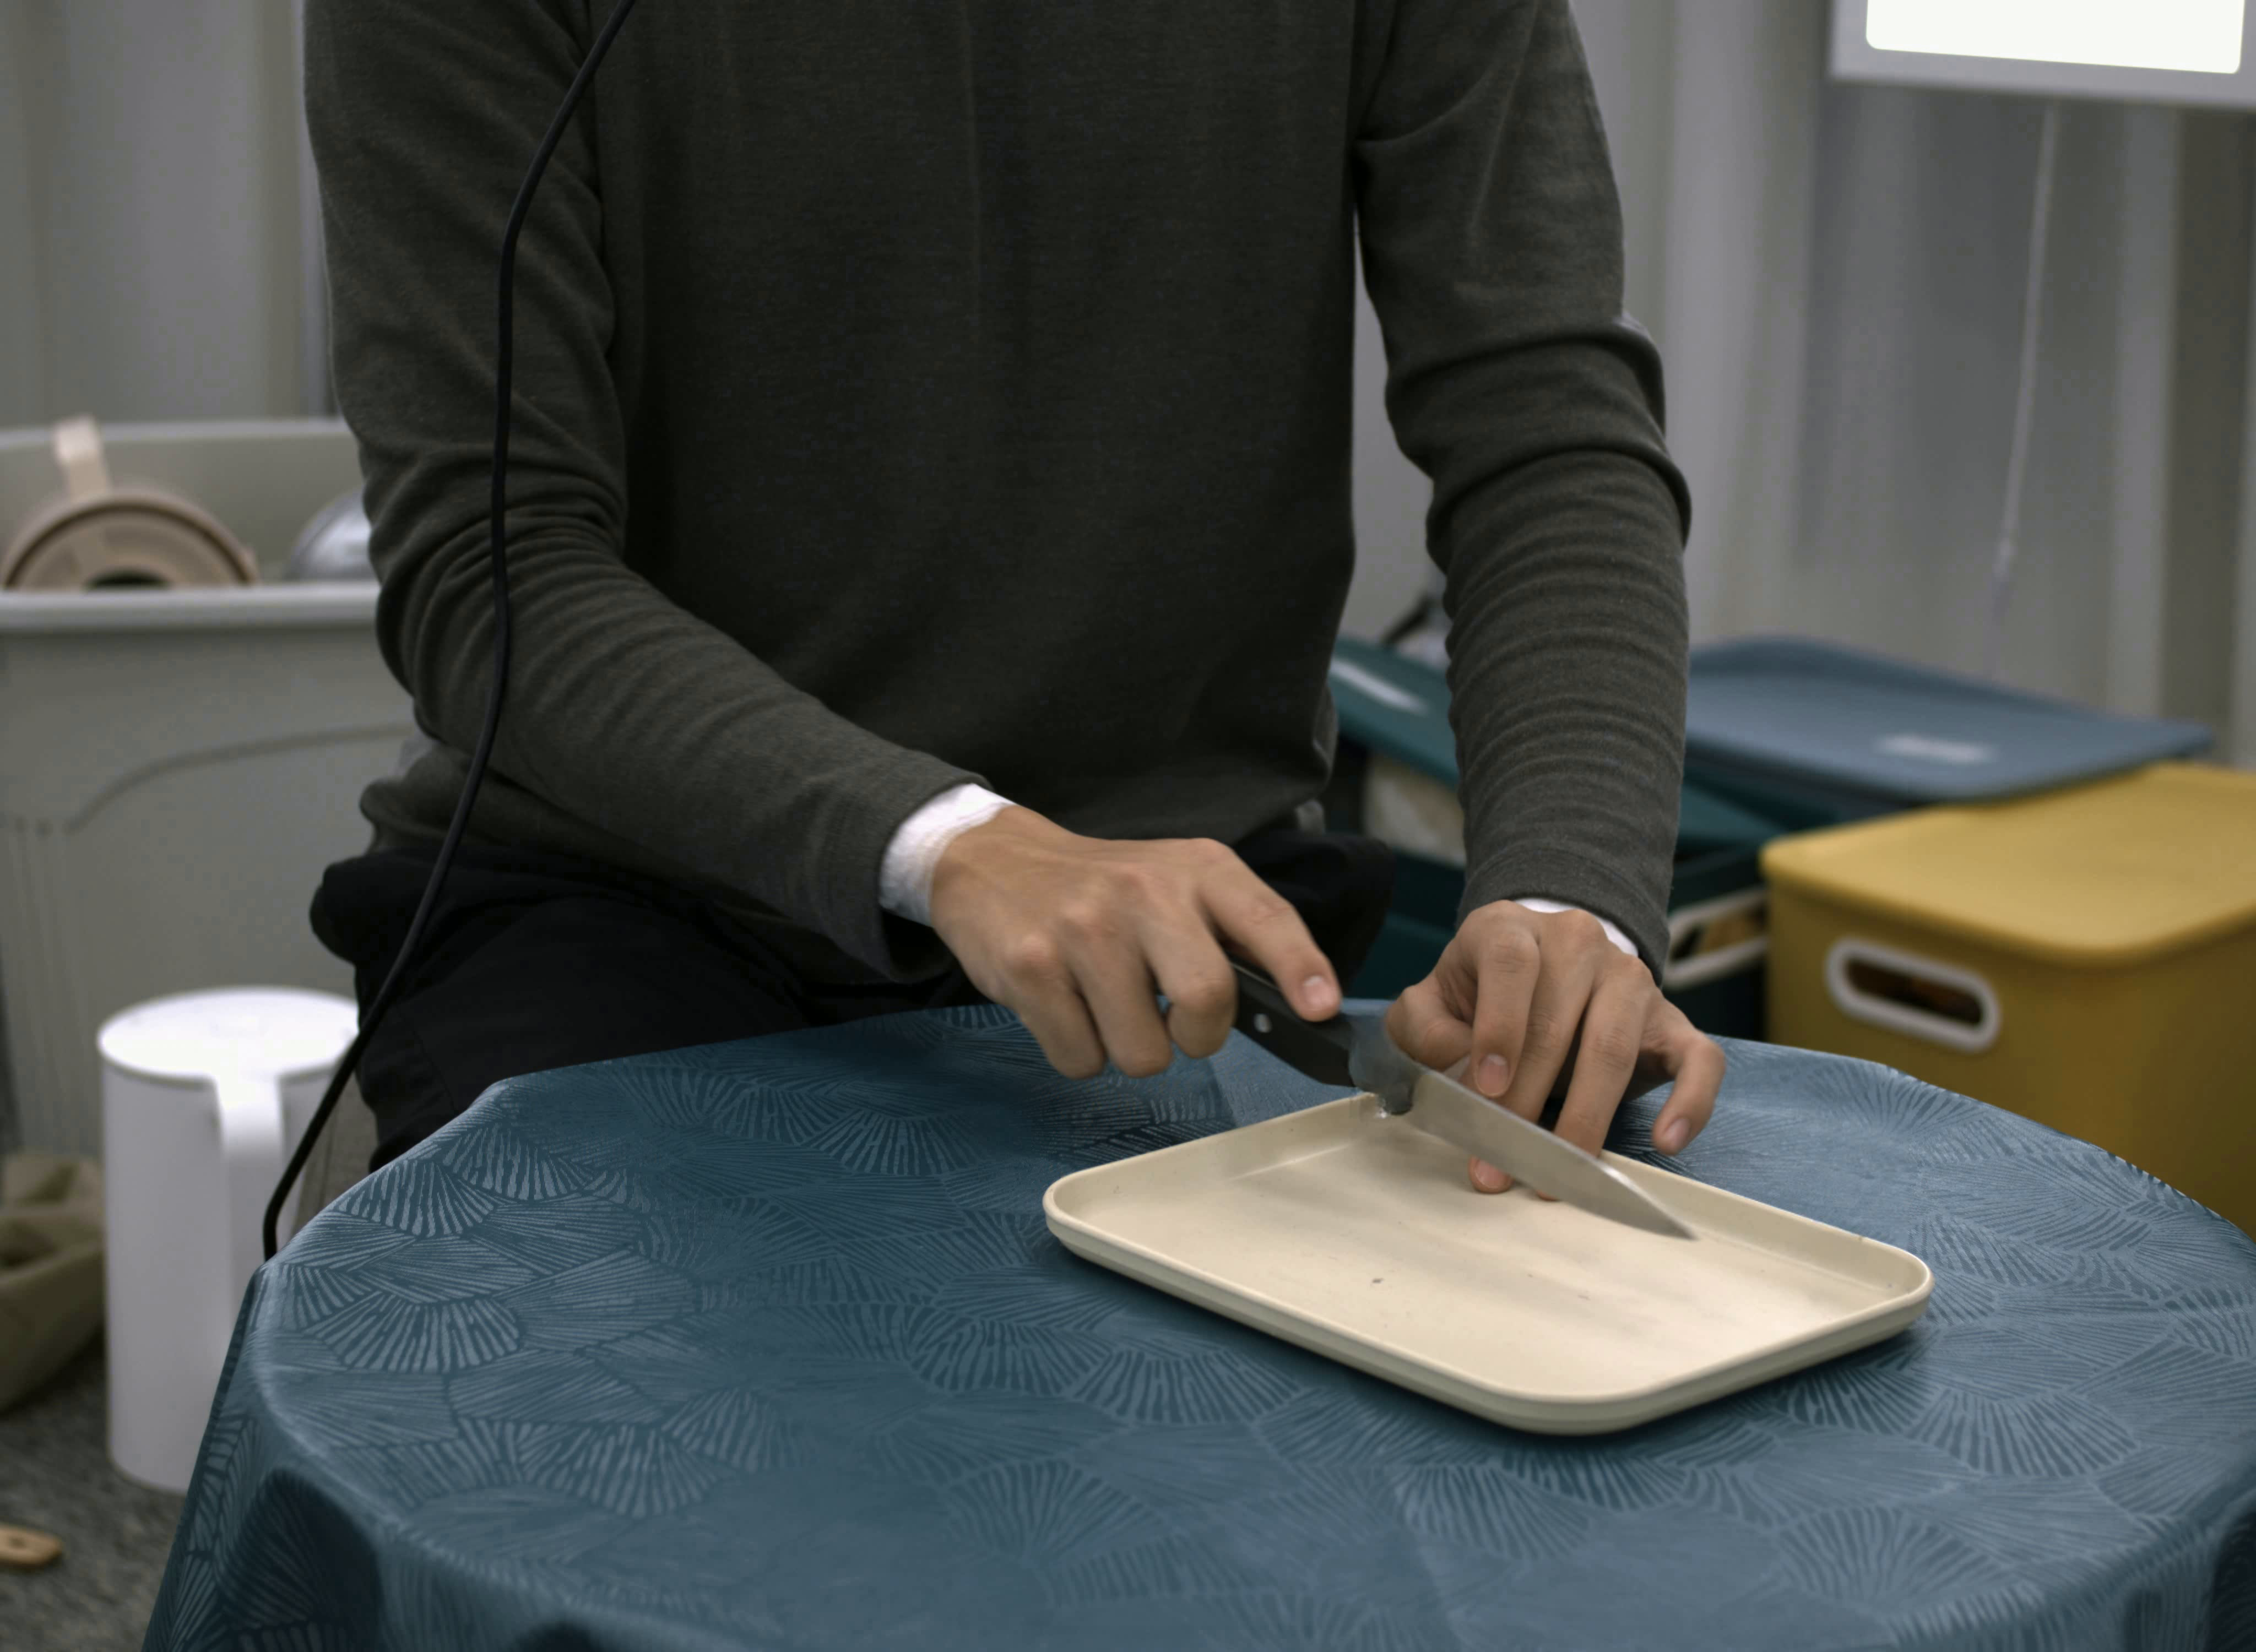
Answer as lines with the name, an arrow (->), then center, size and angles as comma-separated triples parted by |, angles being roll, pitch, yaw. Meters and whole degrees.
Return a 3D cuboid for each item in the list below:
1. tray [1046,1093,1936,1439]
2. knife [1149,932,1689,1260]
tray -> 0.104, 0.126, 1.545 | 0.172, 0.017, 0.236 | -13, 20, -39
knife -> 0.085, 0.079, 1.579 | 0.016, 0.025, 0.235 | -20, 33, -35
